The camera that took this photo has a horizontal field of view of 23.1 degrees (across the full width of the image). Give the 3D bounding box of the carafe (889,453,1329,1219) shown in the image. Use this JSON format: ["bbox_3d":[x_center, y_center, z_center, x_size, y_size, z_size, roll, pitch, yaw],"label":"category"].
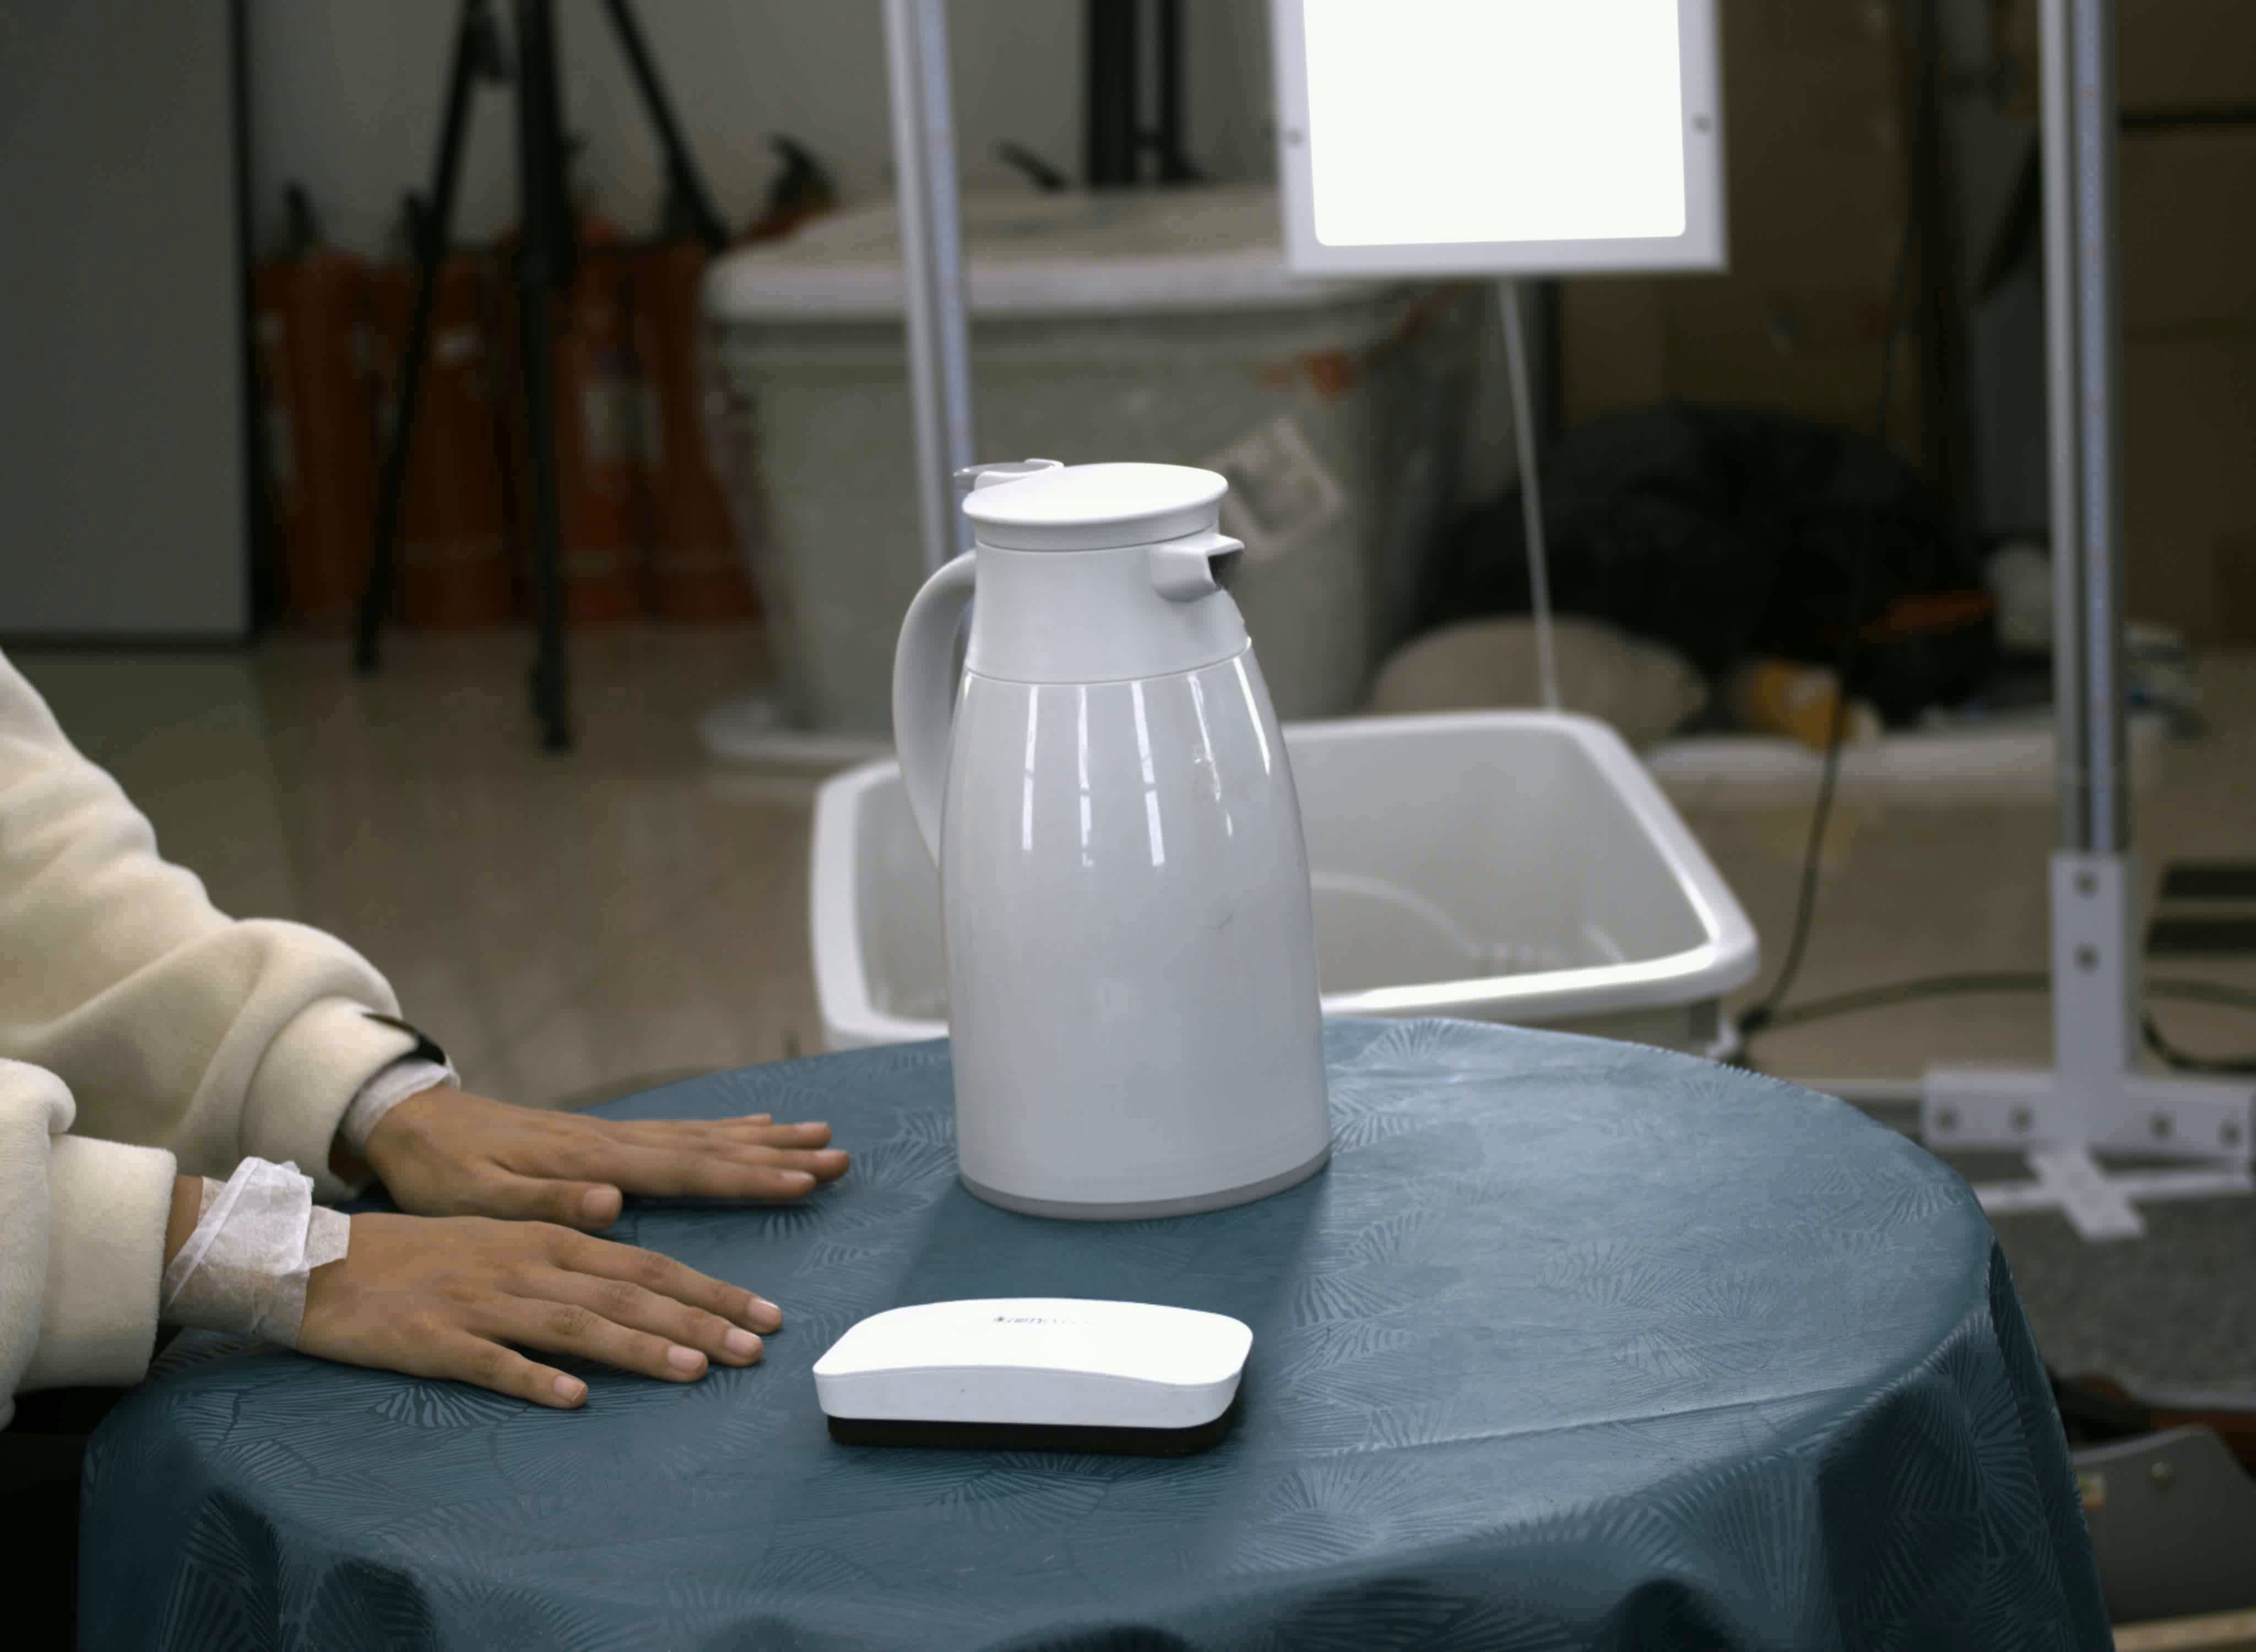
[{"bbox_3d":[-0.018,-0.004,1.913,0.129,0.249,0.171,-18,18,-42],"label":"carafe"}]

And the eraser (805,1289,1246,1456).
[{"bbox_3d":[-0.030,0.167,1.679,0.133,0.034,0.062,1,12,19],"label":"eraser"}]
